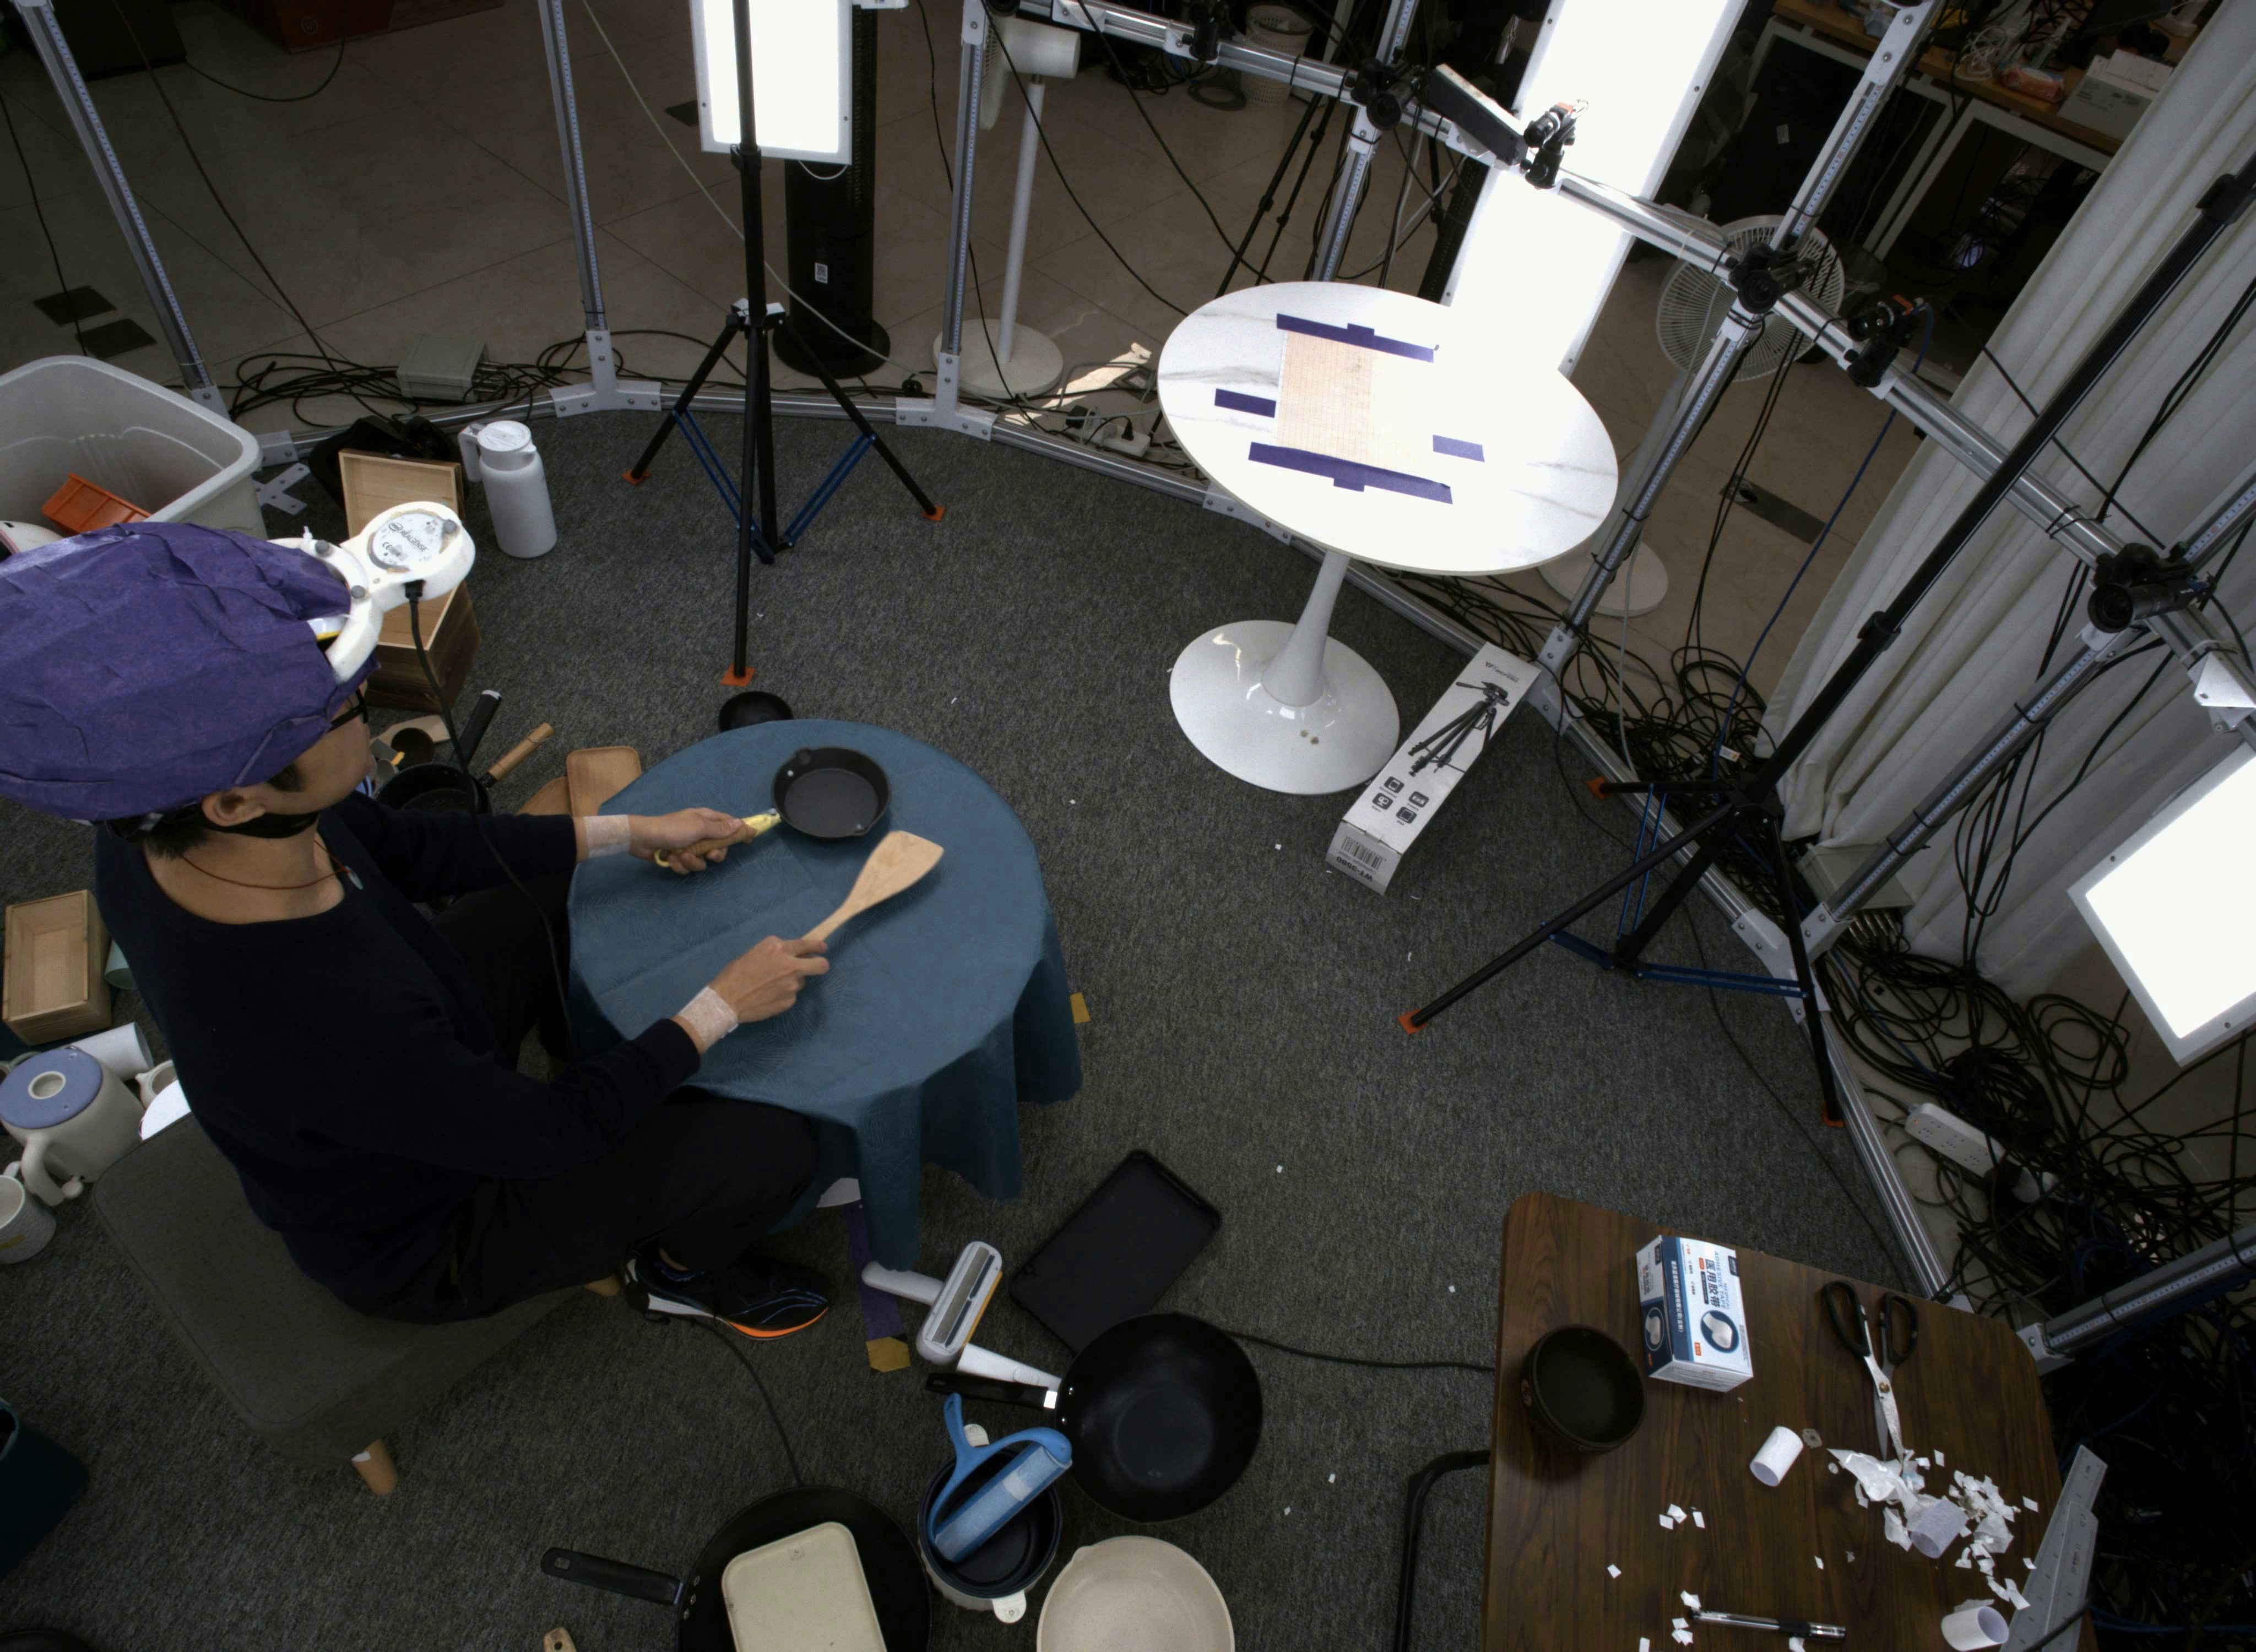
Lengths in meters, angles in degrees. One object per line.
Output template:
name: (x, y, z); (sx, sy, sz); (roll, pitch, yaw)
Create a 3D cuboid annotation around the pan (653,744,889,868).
pan: (-0.463, -0.013, 1.680); (0.326, 0.050, 0.165); (-25, 63, -31)

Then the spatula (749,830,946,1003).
spatula: (-0.351, 0.106, 1.604); (0.078, 0.017, 0.327); (30, 47, 14)
